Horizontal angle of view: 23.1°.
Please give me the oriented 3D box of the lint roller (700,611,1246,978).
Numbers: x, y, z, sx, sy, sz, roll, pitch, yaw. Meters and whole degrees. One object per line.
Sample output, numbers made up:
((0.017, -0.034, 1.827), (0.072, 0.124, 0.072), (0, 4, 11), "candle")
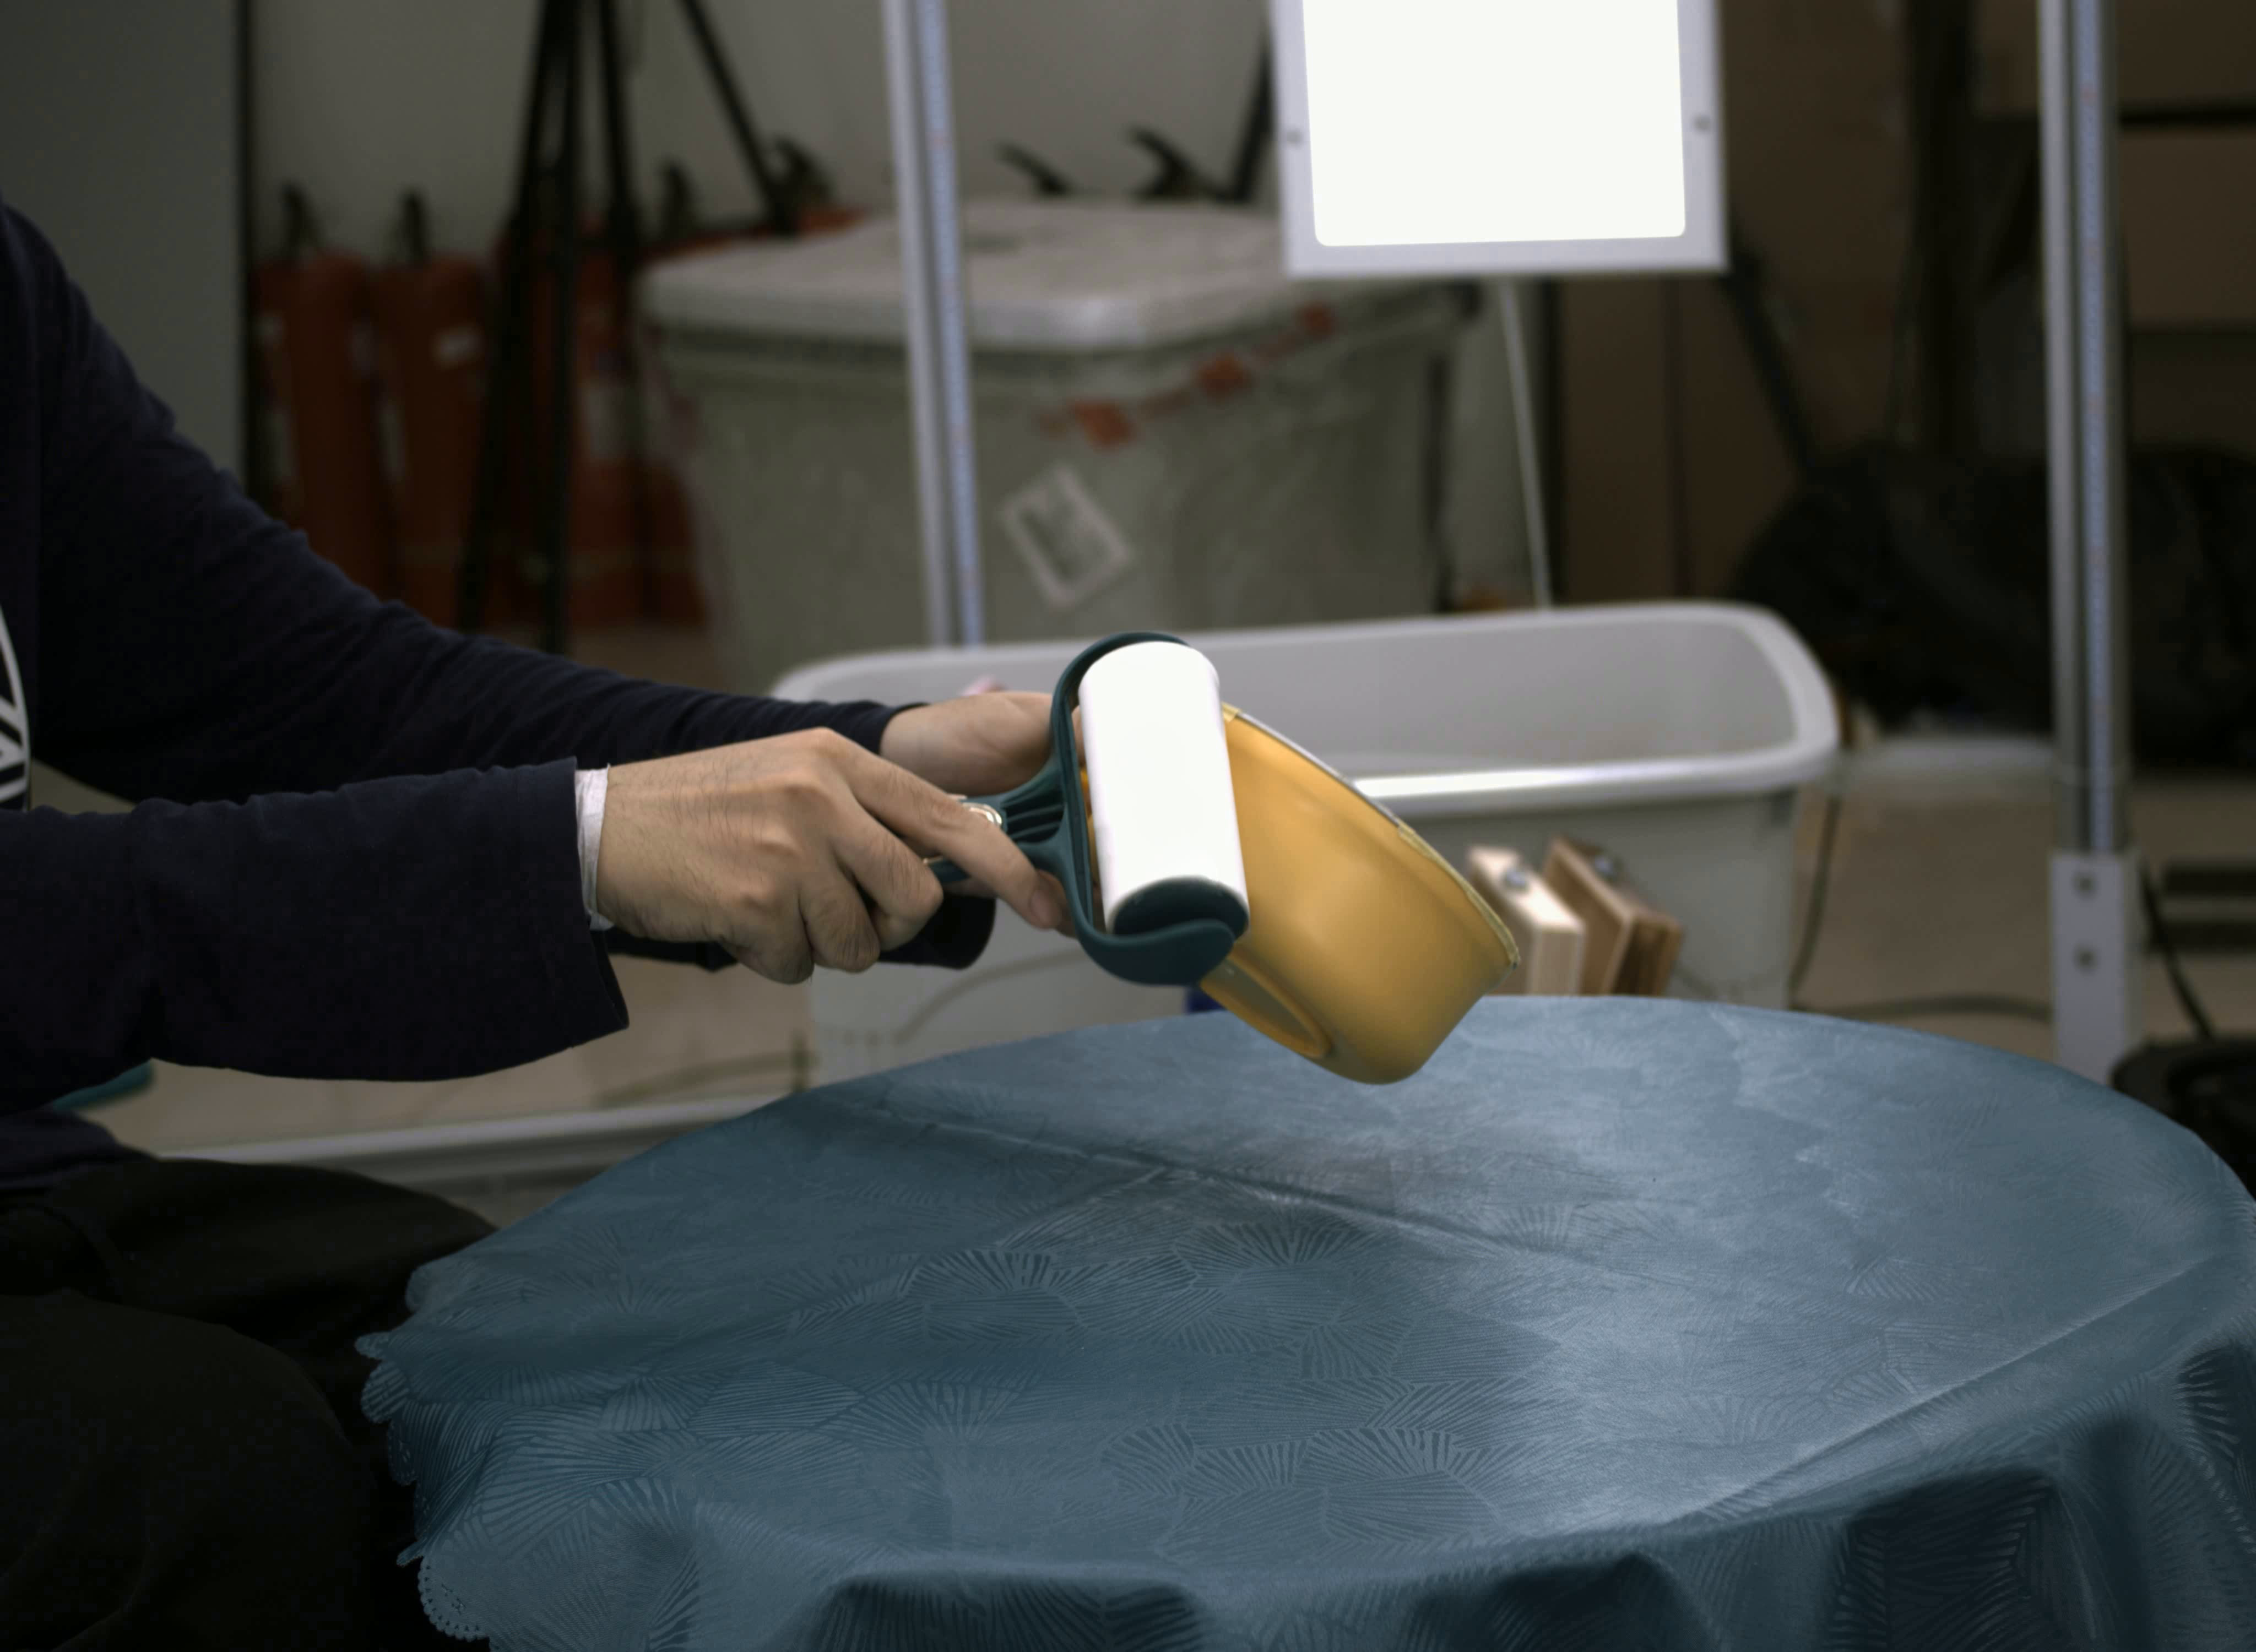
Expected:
((-0.055, 0.001, 1.798), (0.180, 0.048, 0.134), (-9, 49, 4), "lint roller")

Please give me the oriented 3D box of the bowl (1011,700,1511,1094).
((0.042, 0.024, 1.887), (0.182, 0.074, 0.151), (31, -11, 37), "bowl")
